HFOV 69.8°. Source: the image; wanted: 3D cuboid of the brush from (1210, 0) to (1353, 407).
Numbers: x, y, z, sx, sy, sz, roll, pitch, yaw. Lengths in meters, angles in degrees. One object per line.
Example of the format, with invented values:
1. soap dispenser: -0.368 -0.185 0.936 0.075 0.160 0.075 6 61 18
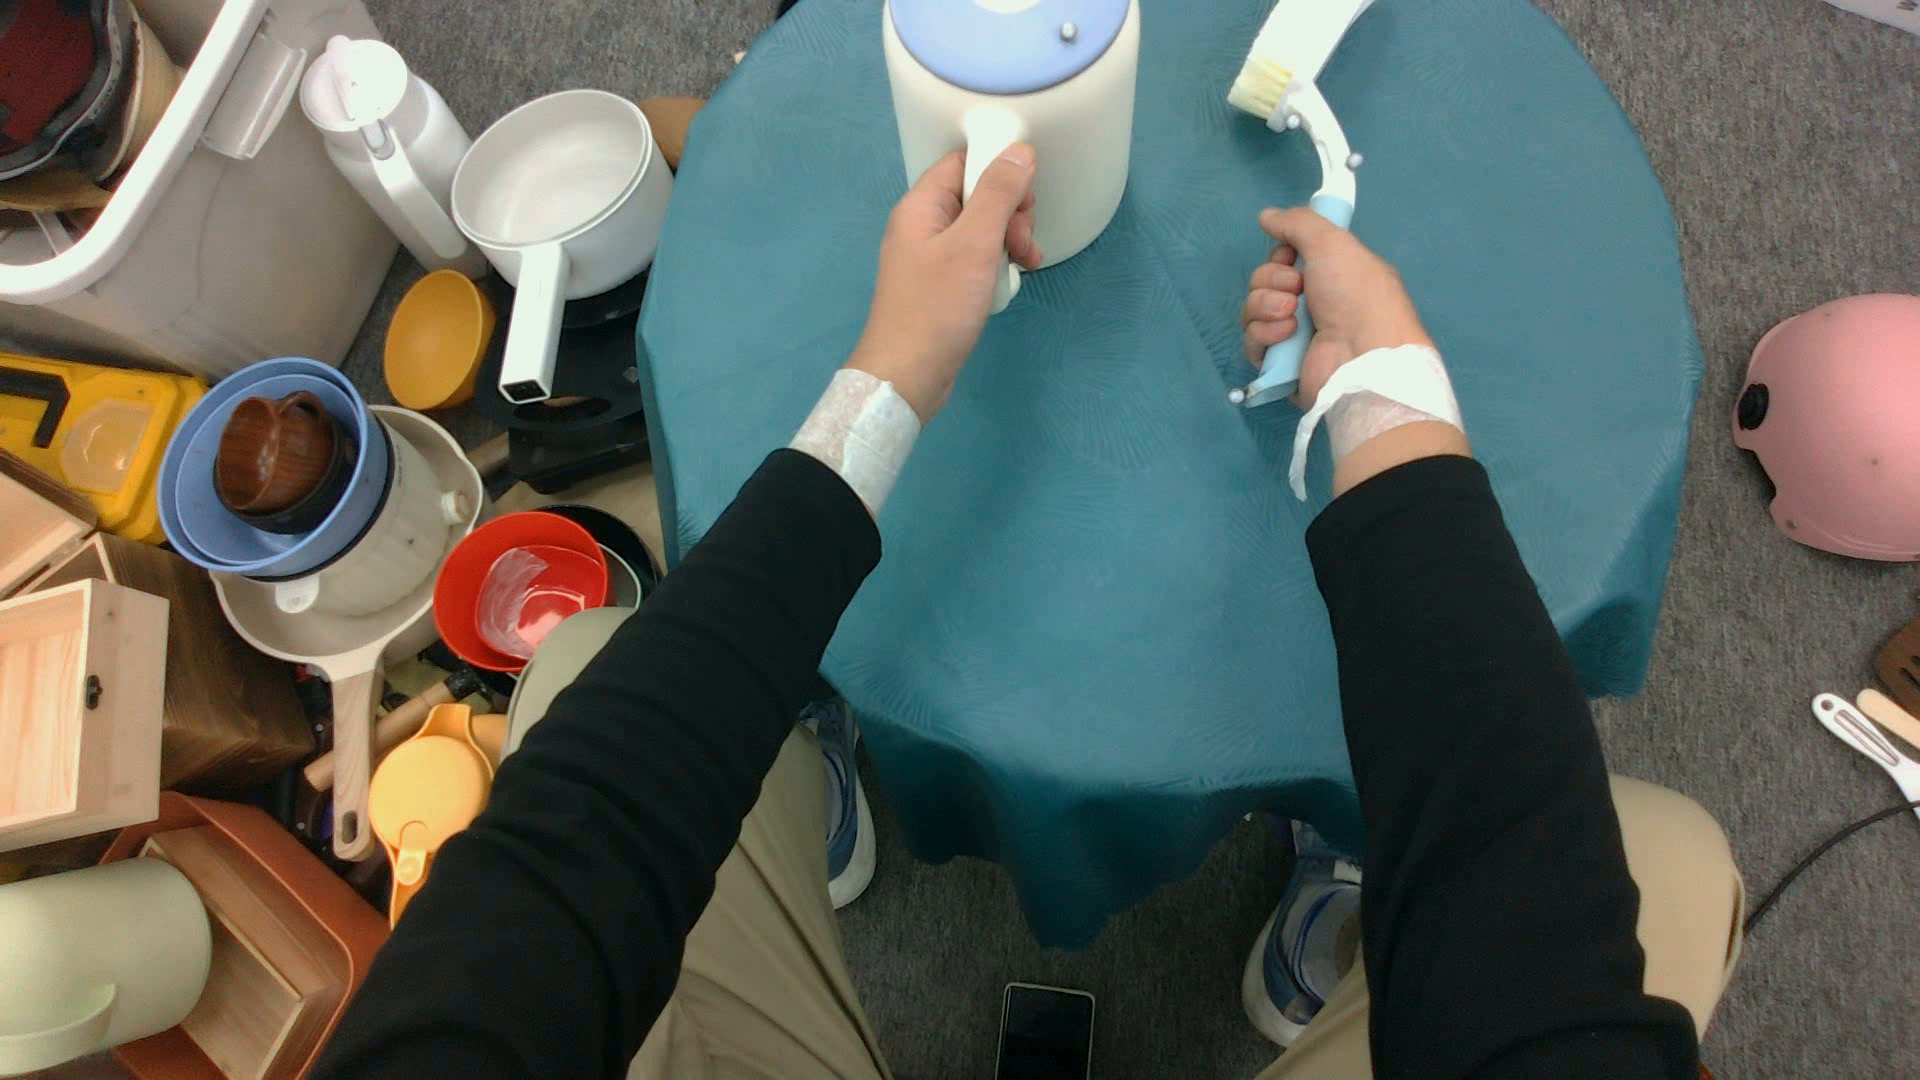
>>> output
1. brush: 0.163 -0.222 0.769 0.084 0.083 0.326 3 62 34

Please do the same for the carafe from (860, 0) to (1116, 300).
1. carafe: 0.014 -0.227 0.743 0.132 0.182 0.191 4 74 5
